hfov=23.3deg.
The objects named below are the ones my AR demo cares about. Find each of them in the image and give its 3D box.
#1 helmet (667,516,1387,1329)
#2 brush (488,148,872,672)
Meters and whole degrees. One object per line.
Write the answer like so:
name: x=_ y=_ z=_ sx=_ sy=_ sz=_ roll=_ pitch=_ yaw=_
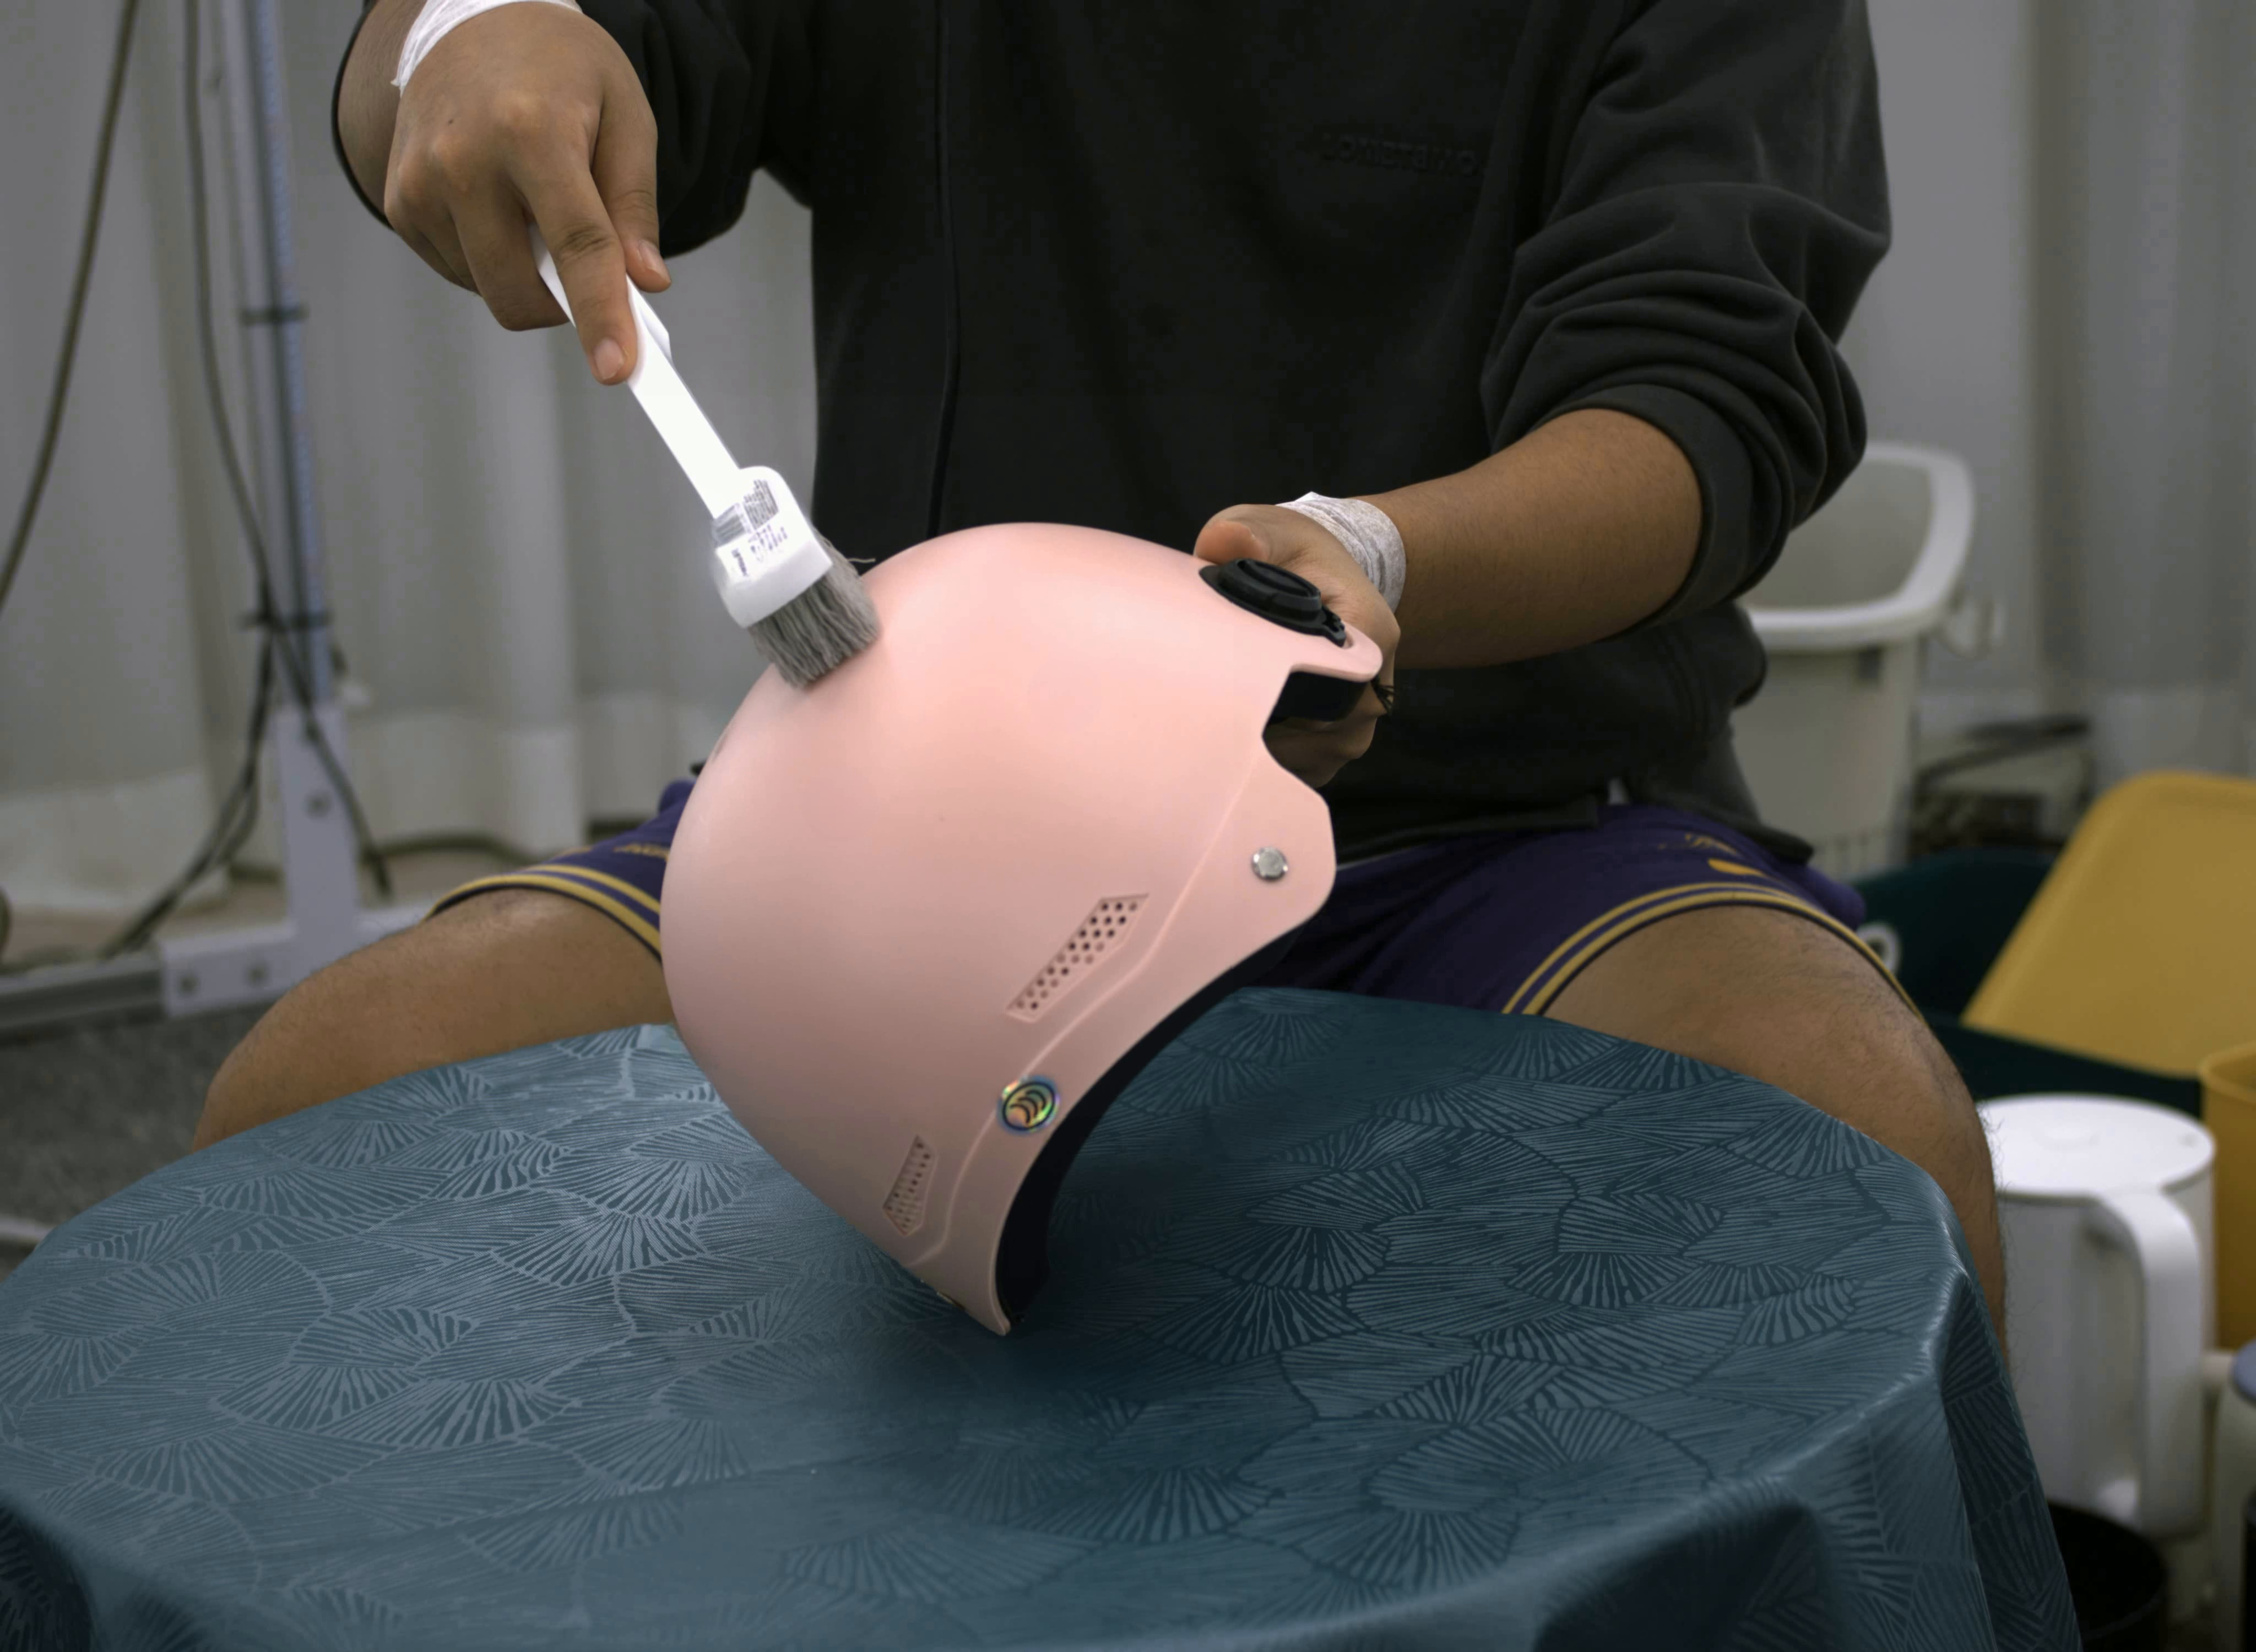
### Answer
helmet: x=-0.046 y=0.003 z=1.618 sx=0.158 sy=0.232 sz=0.268 roll=31 pitch=24 yaw=-6
brush: x=-0.134 y=-0.125 z=1.625 sx=0.034 sy=0.049 sz=0.247 roll=-34 pitch=44 yaw=-1
